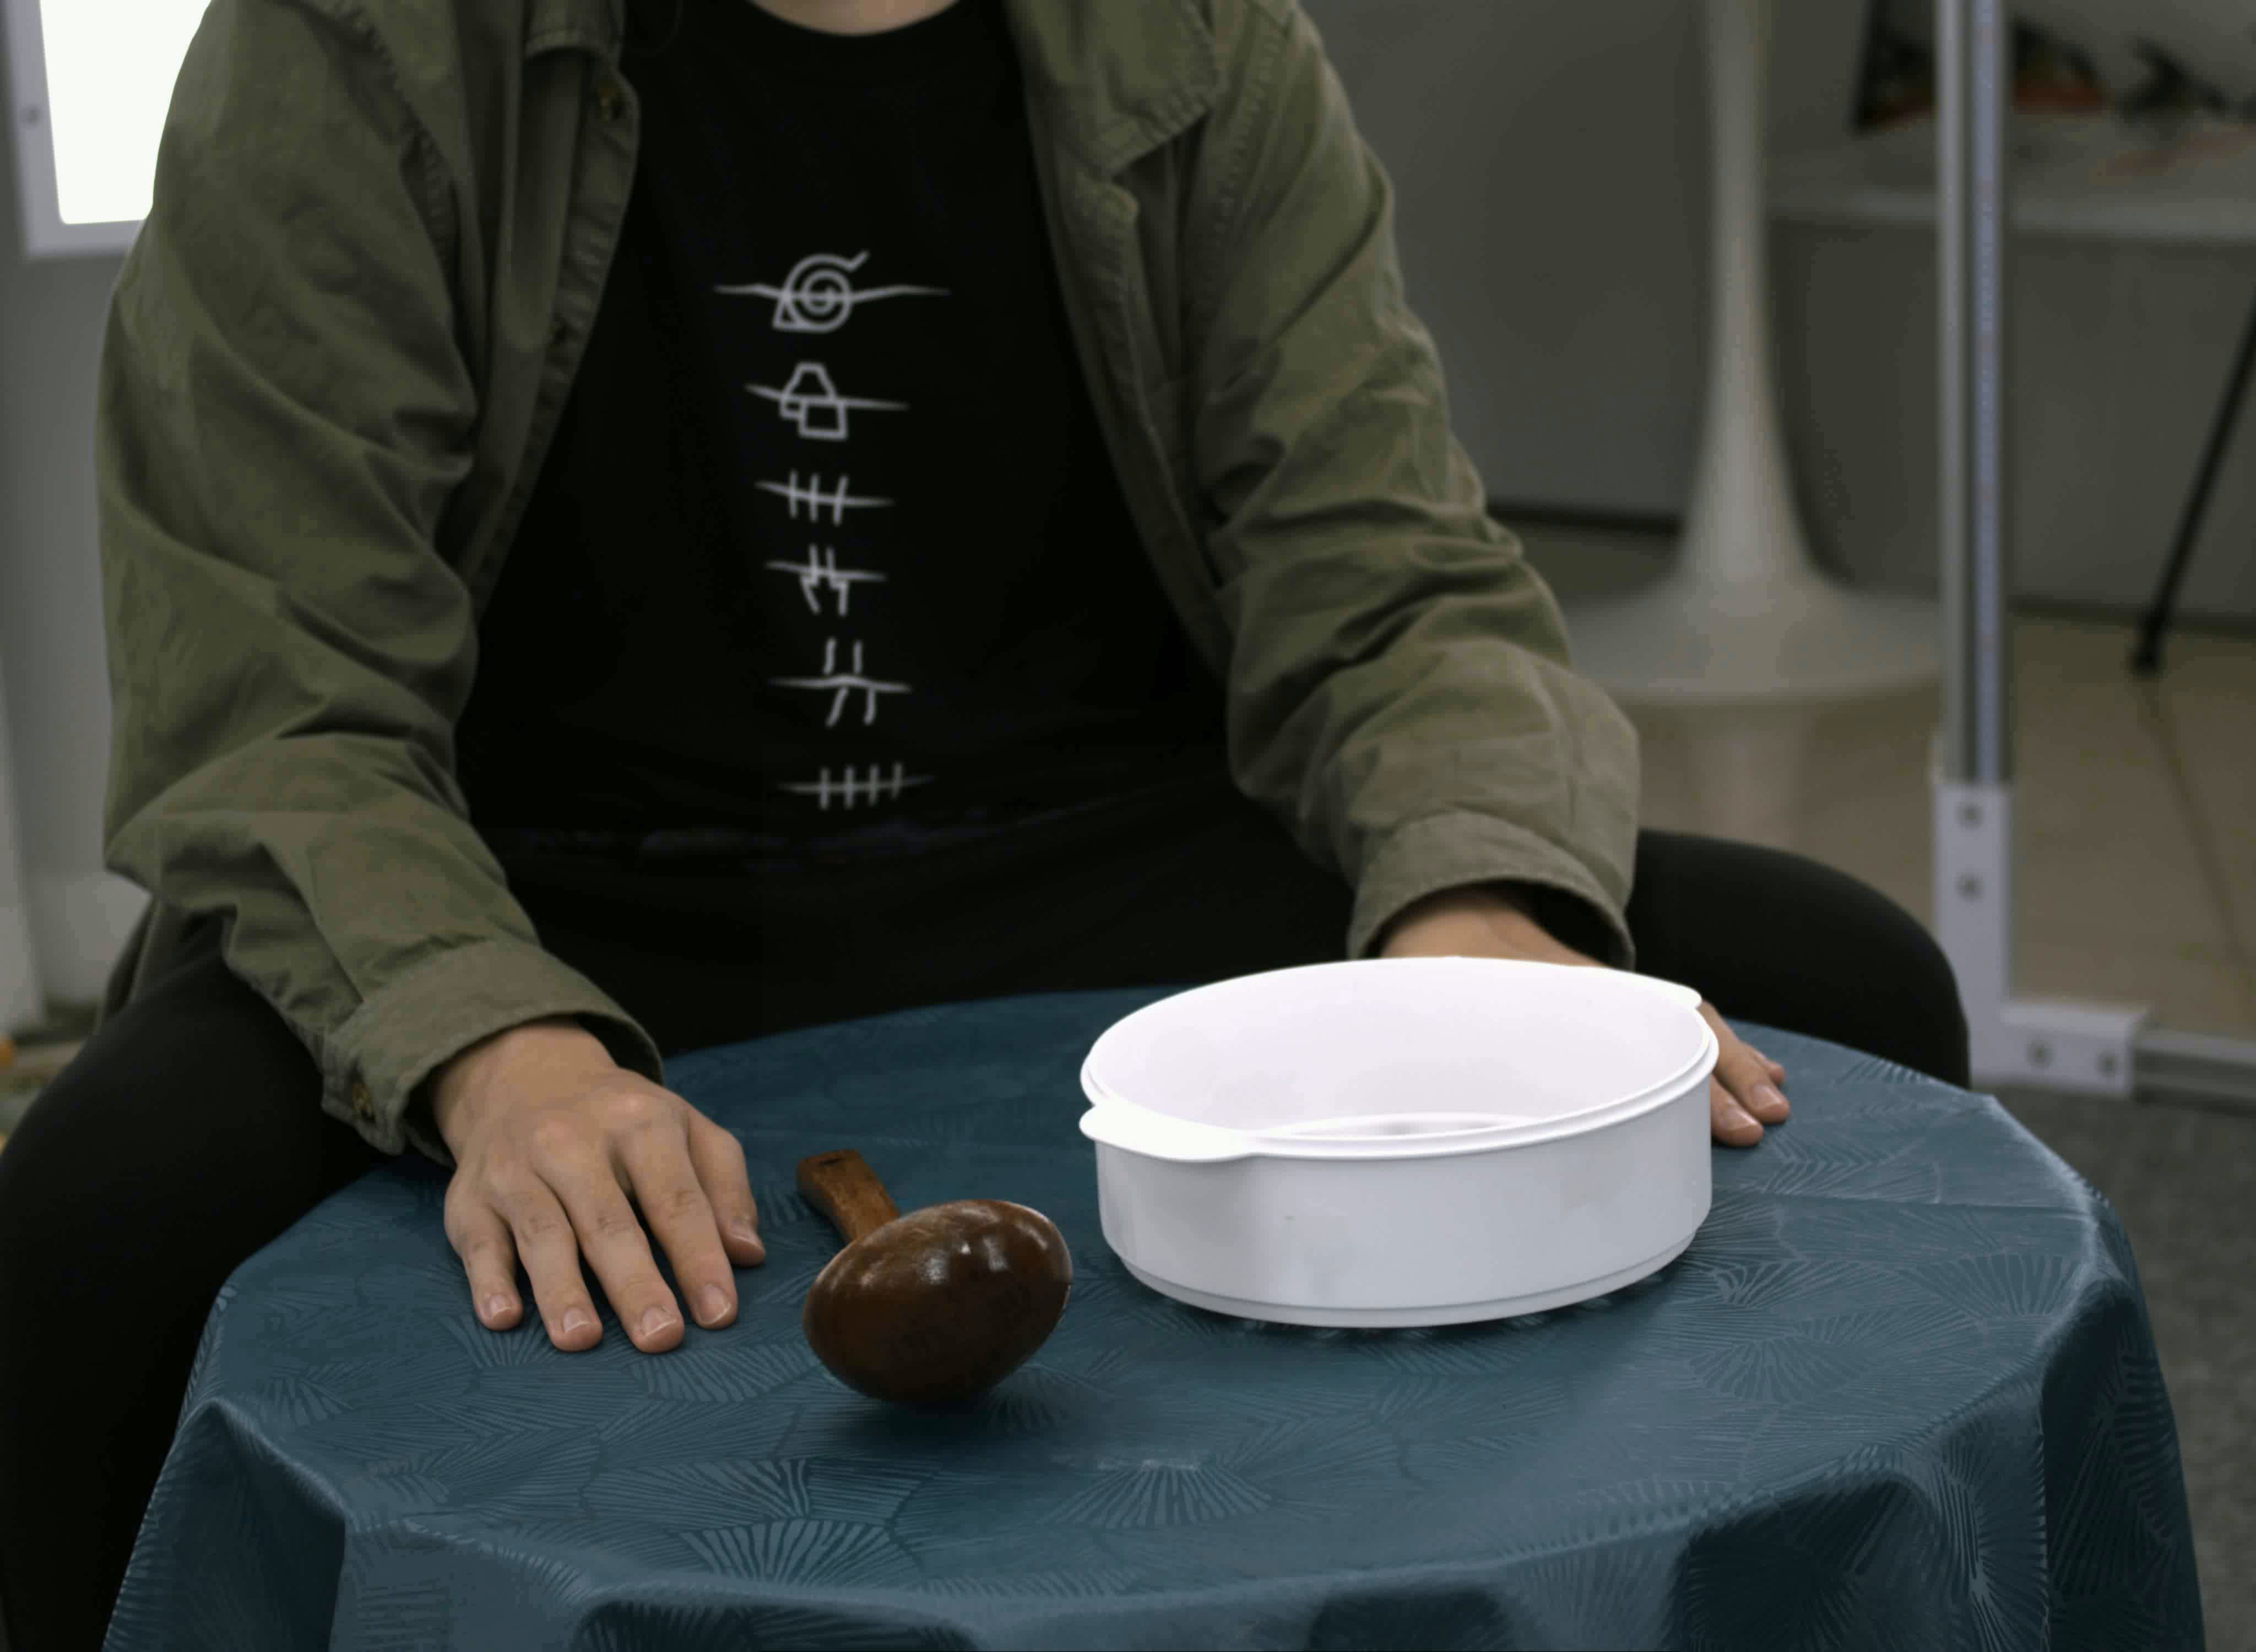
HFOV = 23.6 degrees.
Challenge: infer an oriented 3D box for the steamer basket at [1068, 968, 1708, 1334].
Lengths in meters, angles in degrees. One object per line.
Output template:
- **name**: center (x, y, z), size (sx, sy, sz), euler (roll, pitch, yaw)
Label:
- **steamer basket**: center (0.082, 0.102, 1.685), size (0.225, 0.070, 0.204), euler (-13, 16, -38)

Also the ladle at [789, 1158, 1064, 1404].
- **ladle**: center (-0.077, 0.115, 1.657), size (0.080, 0.077, 0.276), euler (-10, 14, -9)
